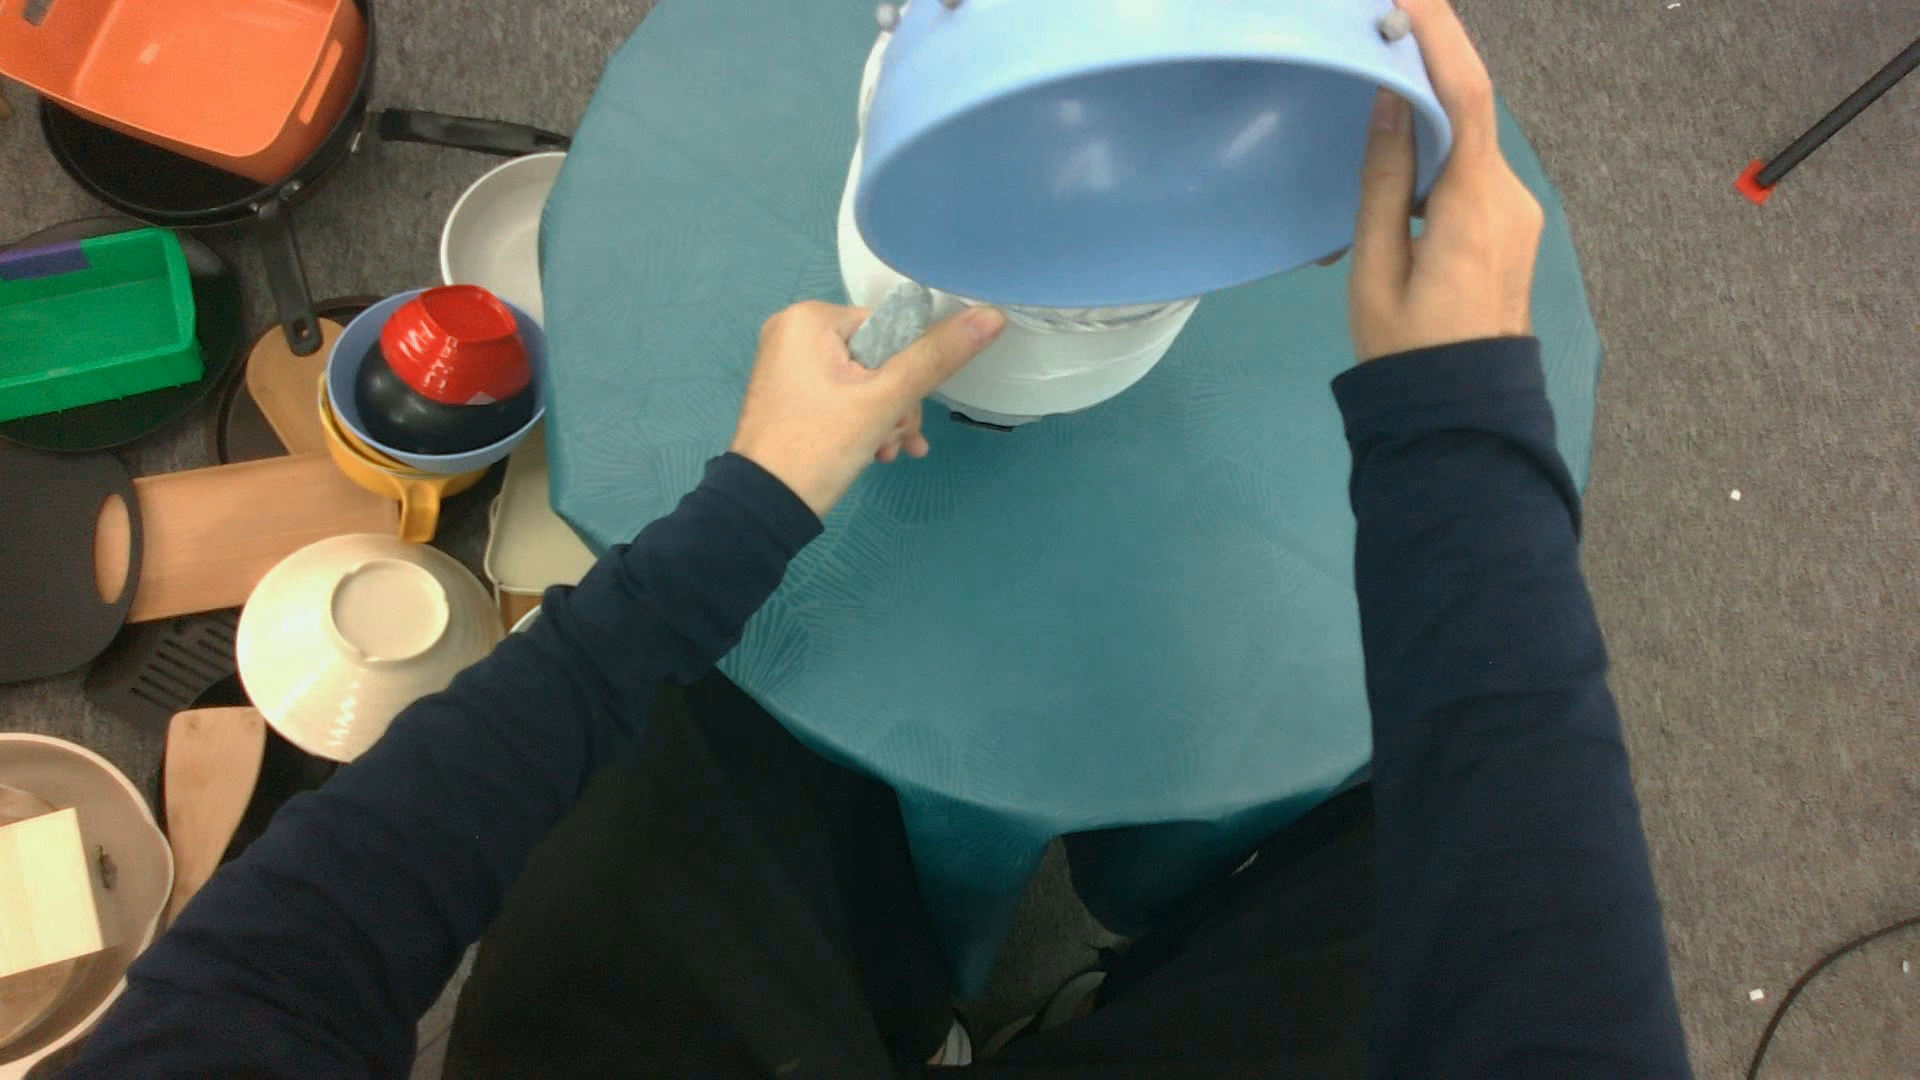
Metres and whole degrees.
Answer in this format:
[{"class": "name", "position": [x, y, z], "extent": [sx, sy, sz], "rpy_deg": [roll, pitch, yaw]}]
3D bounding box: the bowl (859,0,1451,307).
[{"class": "bowl", "position": [0.060, -0.161, 0.477], "extent": [0.196, 0.196, 0.095], "rpy_deg": [-2, 77, -10]}]

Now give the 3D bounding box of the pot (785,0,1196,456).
[{"class": "pot", "position": [0.009, -0.140, 0.627], "extent": [0.179, 0.136, 0.234], "rpy_deg": [38, 70, 3]}]
